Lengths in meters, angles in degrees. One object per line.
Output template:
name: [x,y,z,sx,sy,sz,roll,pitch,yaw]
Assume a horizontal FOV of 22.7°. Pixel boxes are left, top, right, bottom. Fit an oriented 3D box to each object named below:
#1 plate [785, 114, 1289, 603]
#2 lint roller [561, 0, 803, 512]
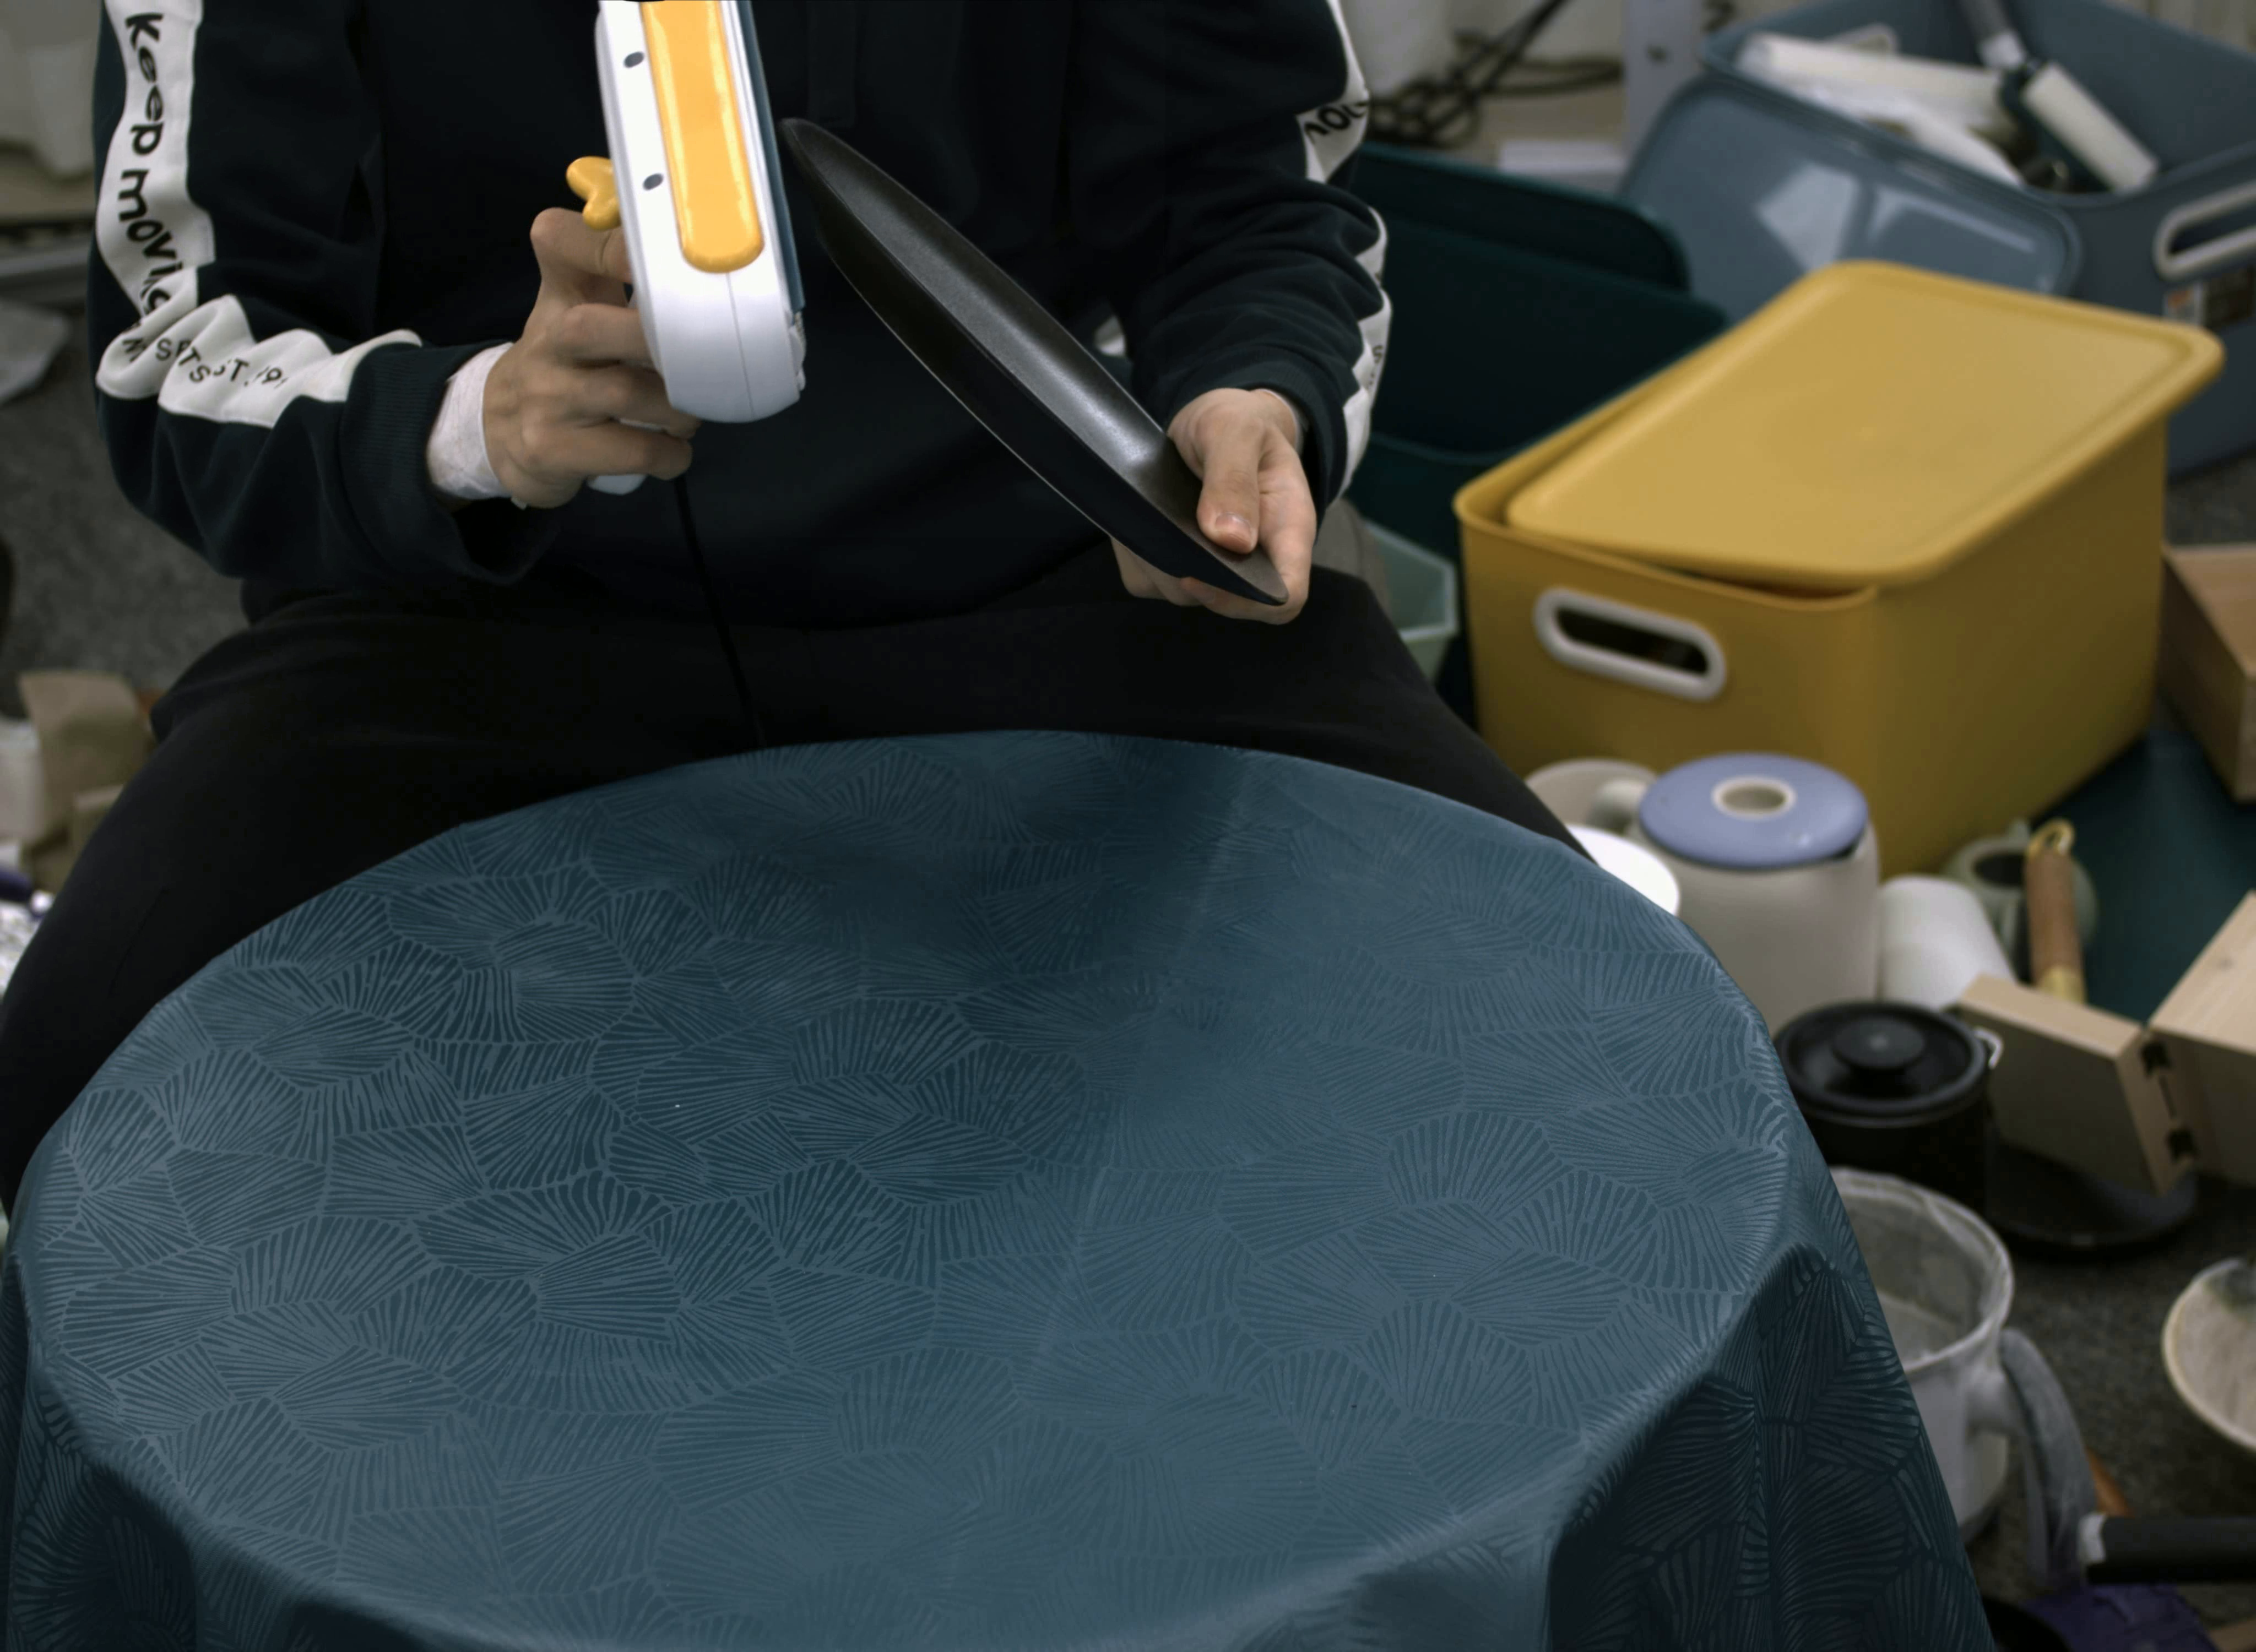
plate: [-0.037,-0.158,1.985,0.023,0.243,0.247,-46,30,8]
lint roller: [-0.157,-0.188,1.971,0.074,0.189,0.196,-9,49,-12]
